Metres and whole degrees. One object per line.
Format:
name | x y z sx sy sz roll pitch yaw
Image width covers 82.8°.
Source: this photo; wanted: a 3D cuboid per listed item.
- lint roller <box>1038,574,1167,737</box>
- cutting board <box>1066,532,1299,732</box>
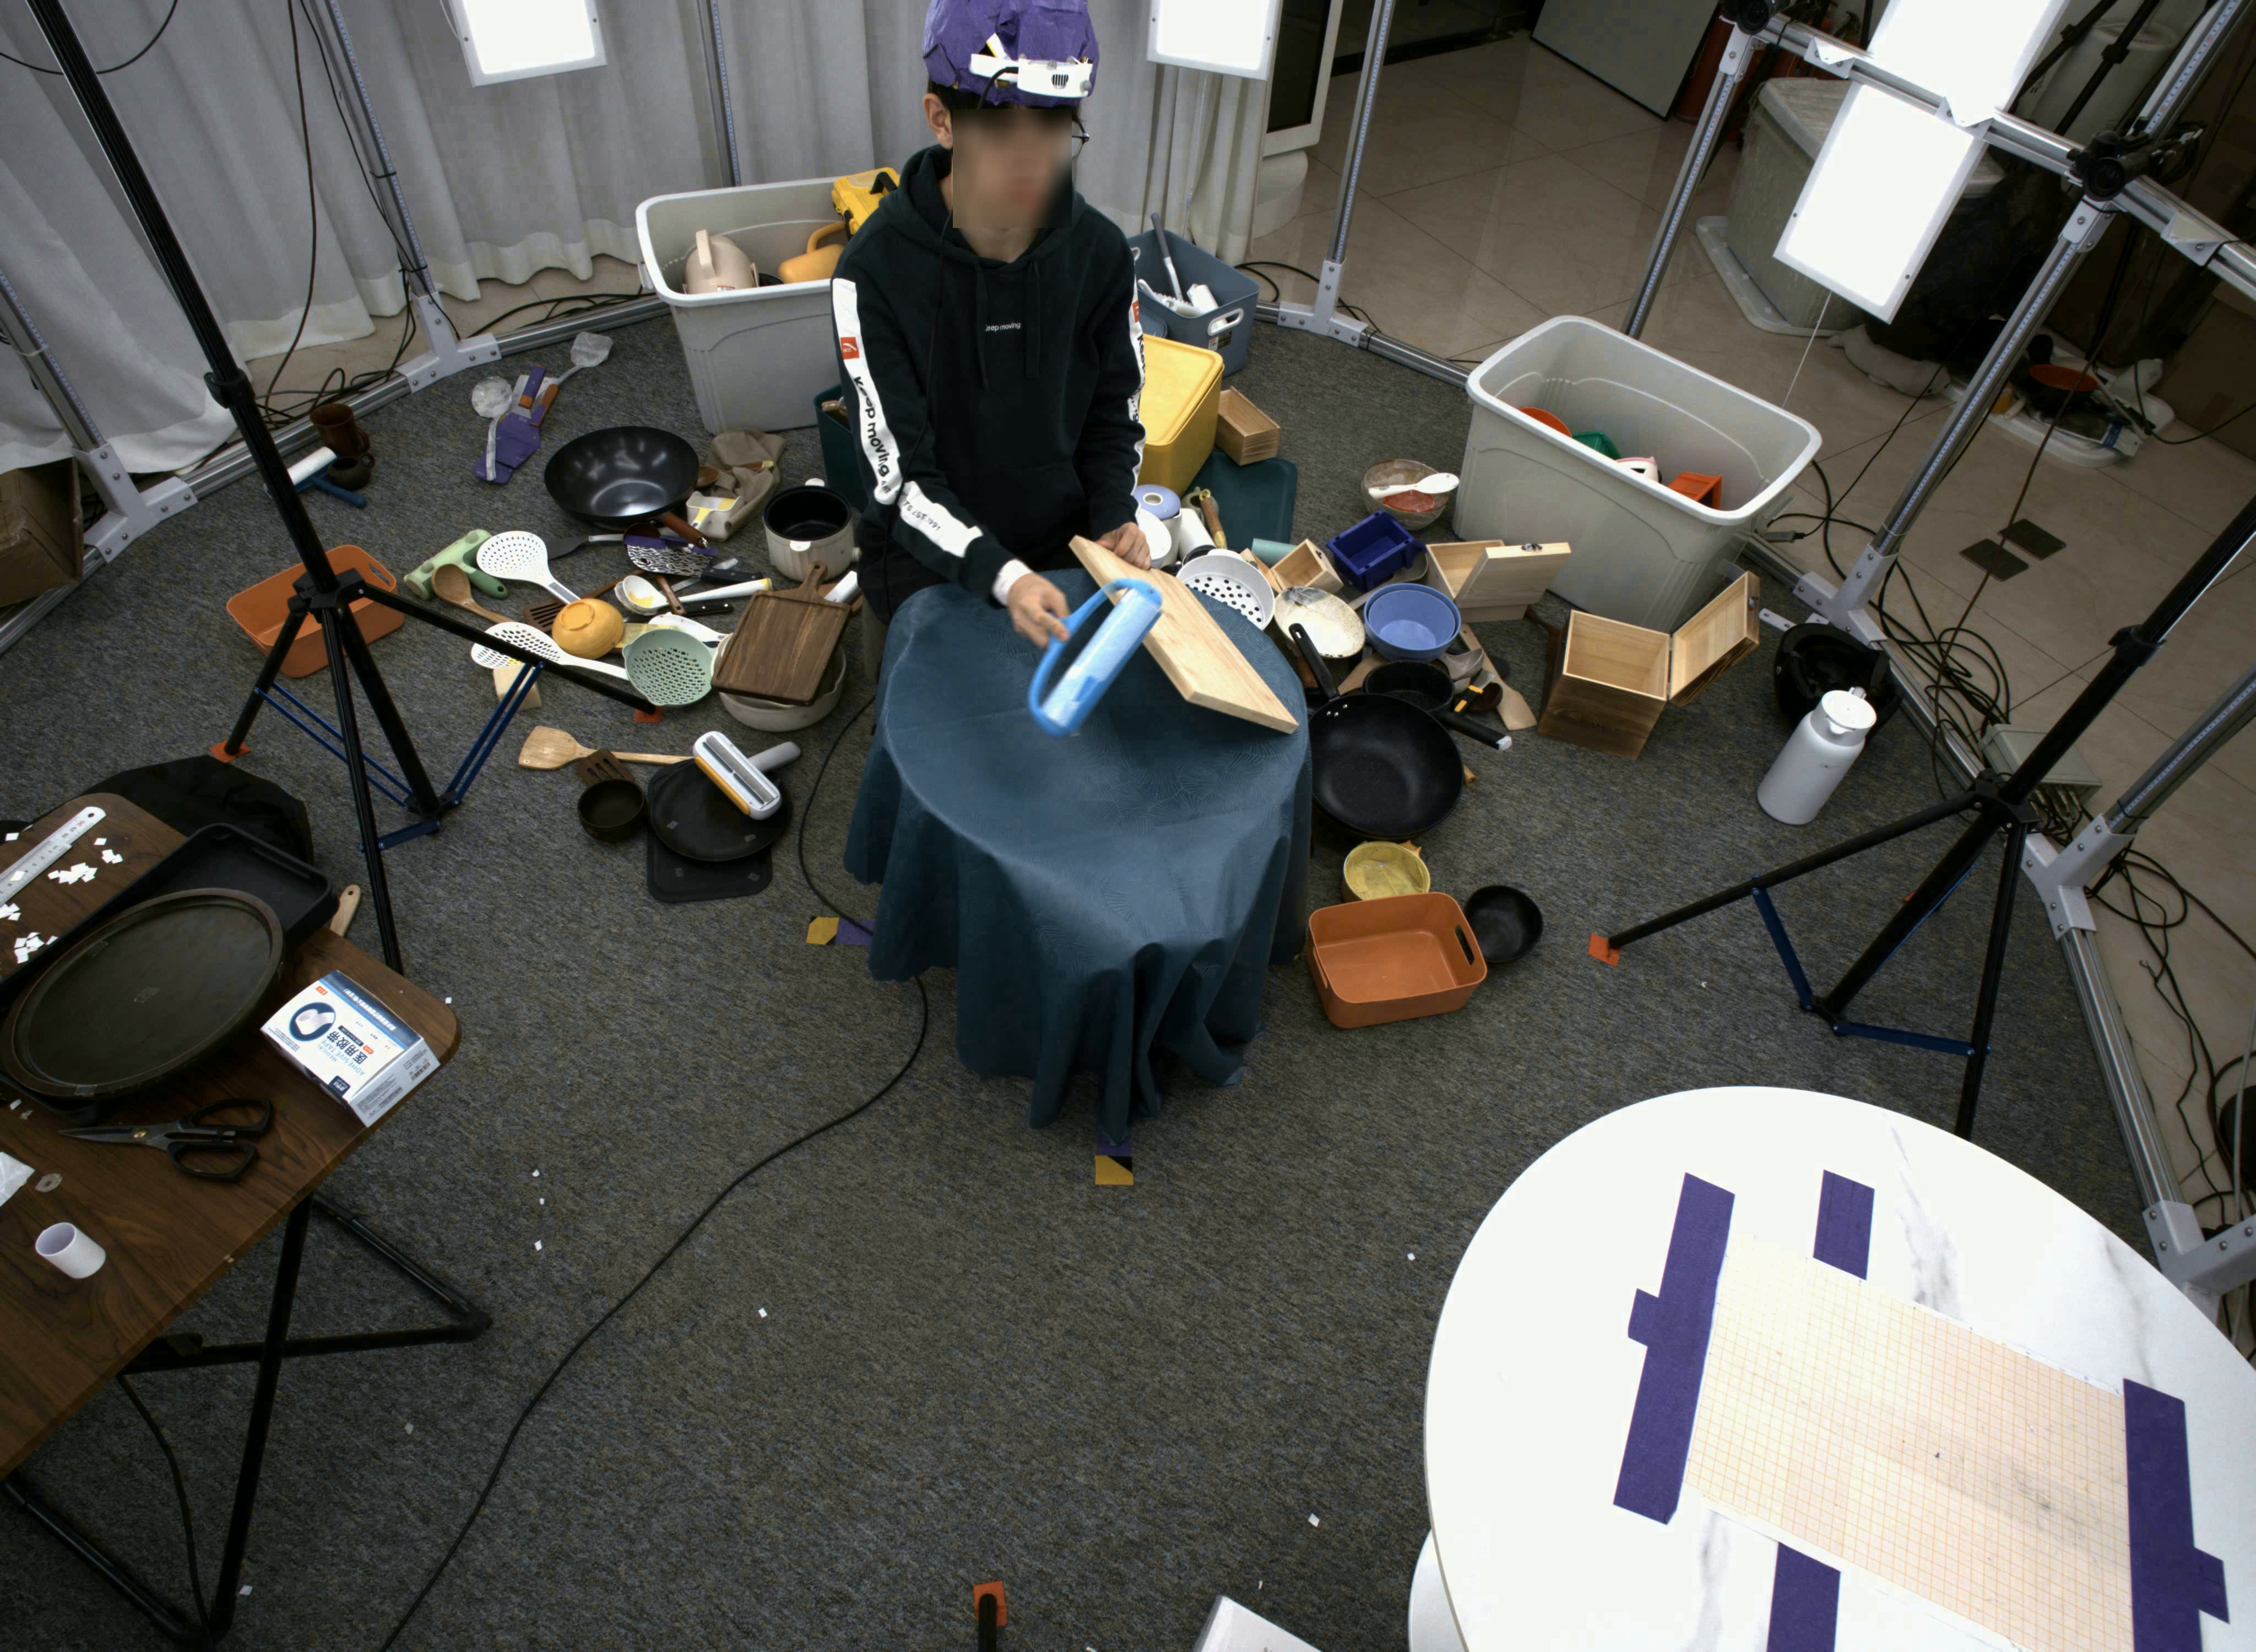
lint roller | -0.067 -0.241 1.649 0.183 0.067 0.228 36 97 34
cutting board | 0.075 -0.272 1.804 0.248 0.023 0.356 12 36 -48
